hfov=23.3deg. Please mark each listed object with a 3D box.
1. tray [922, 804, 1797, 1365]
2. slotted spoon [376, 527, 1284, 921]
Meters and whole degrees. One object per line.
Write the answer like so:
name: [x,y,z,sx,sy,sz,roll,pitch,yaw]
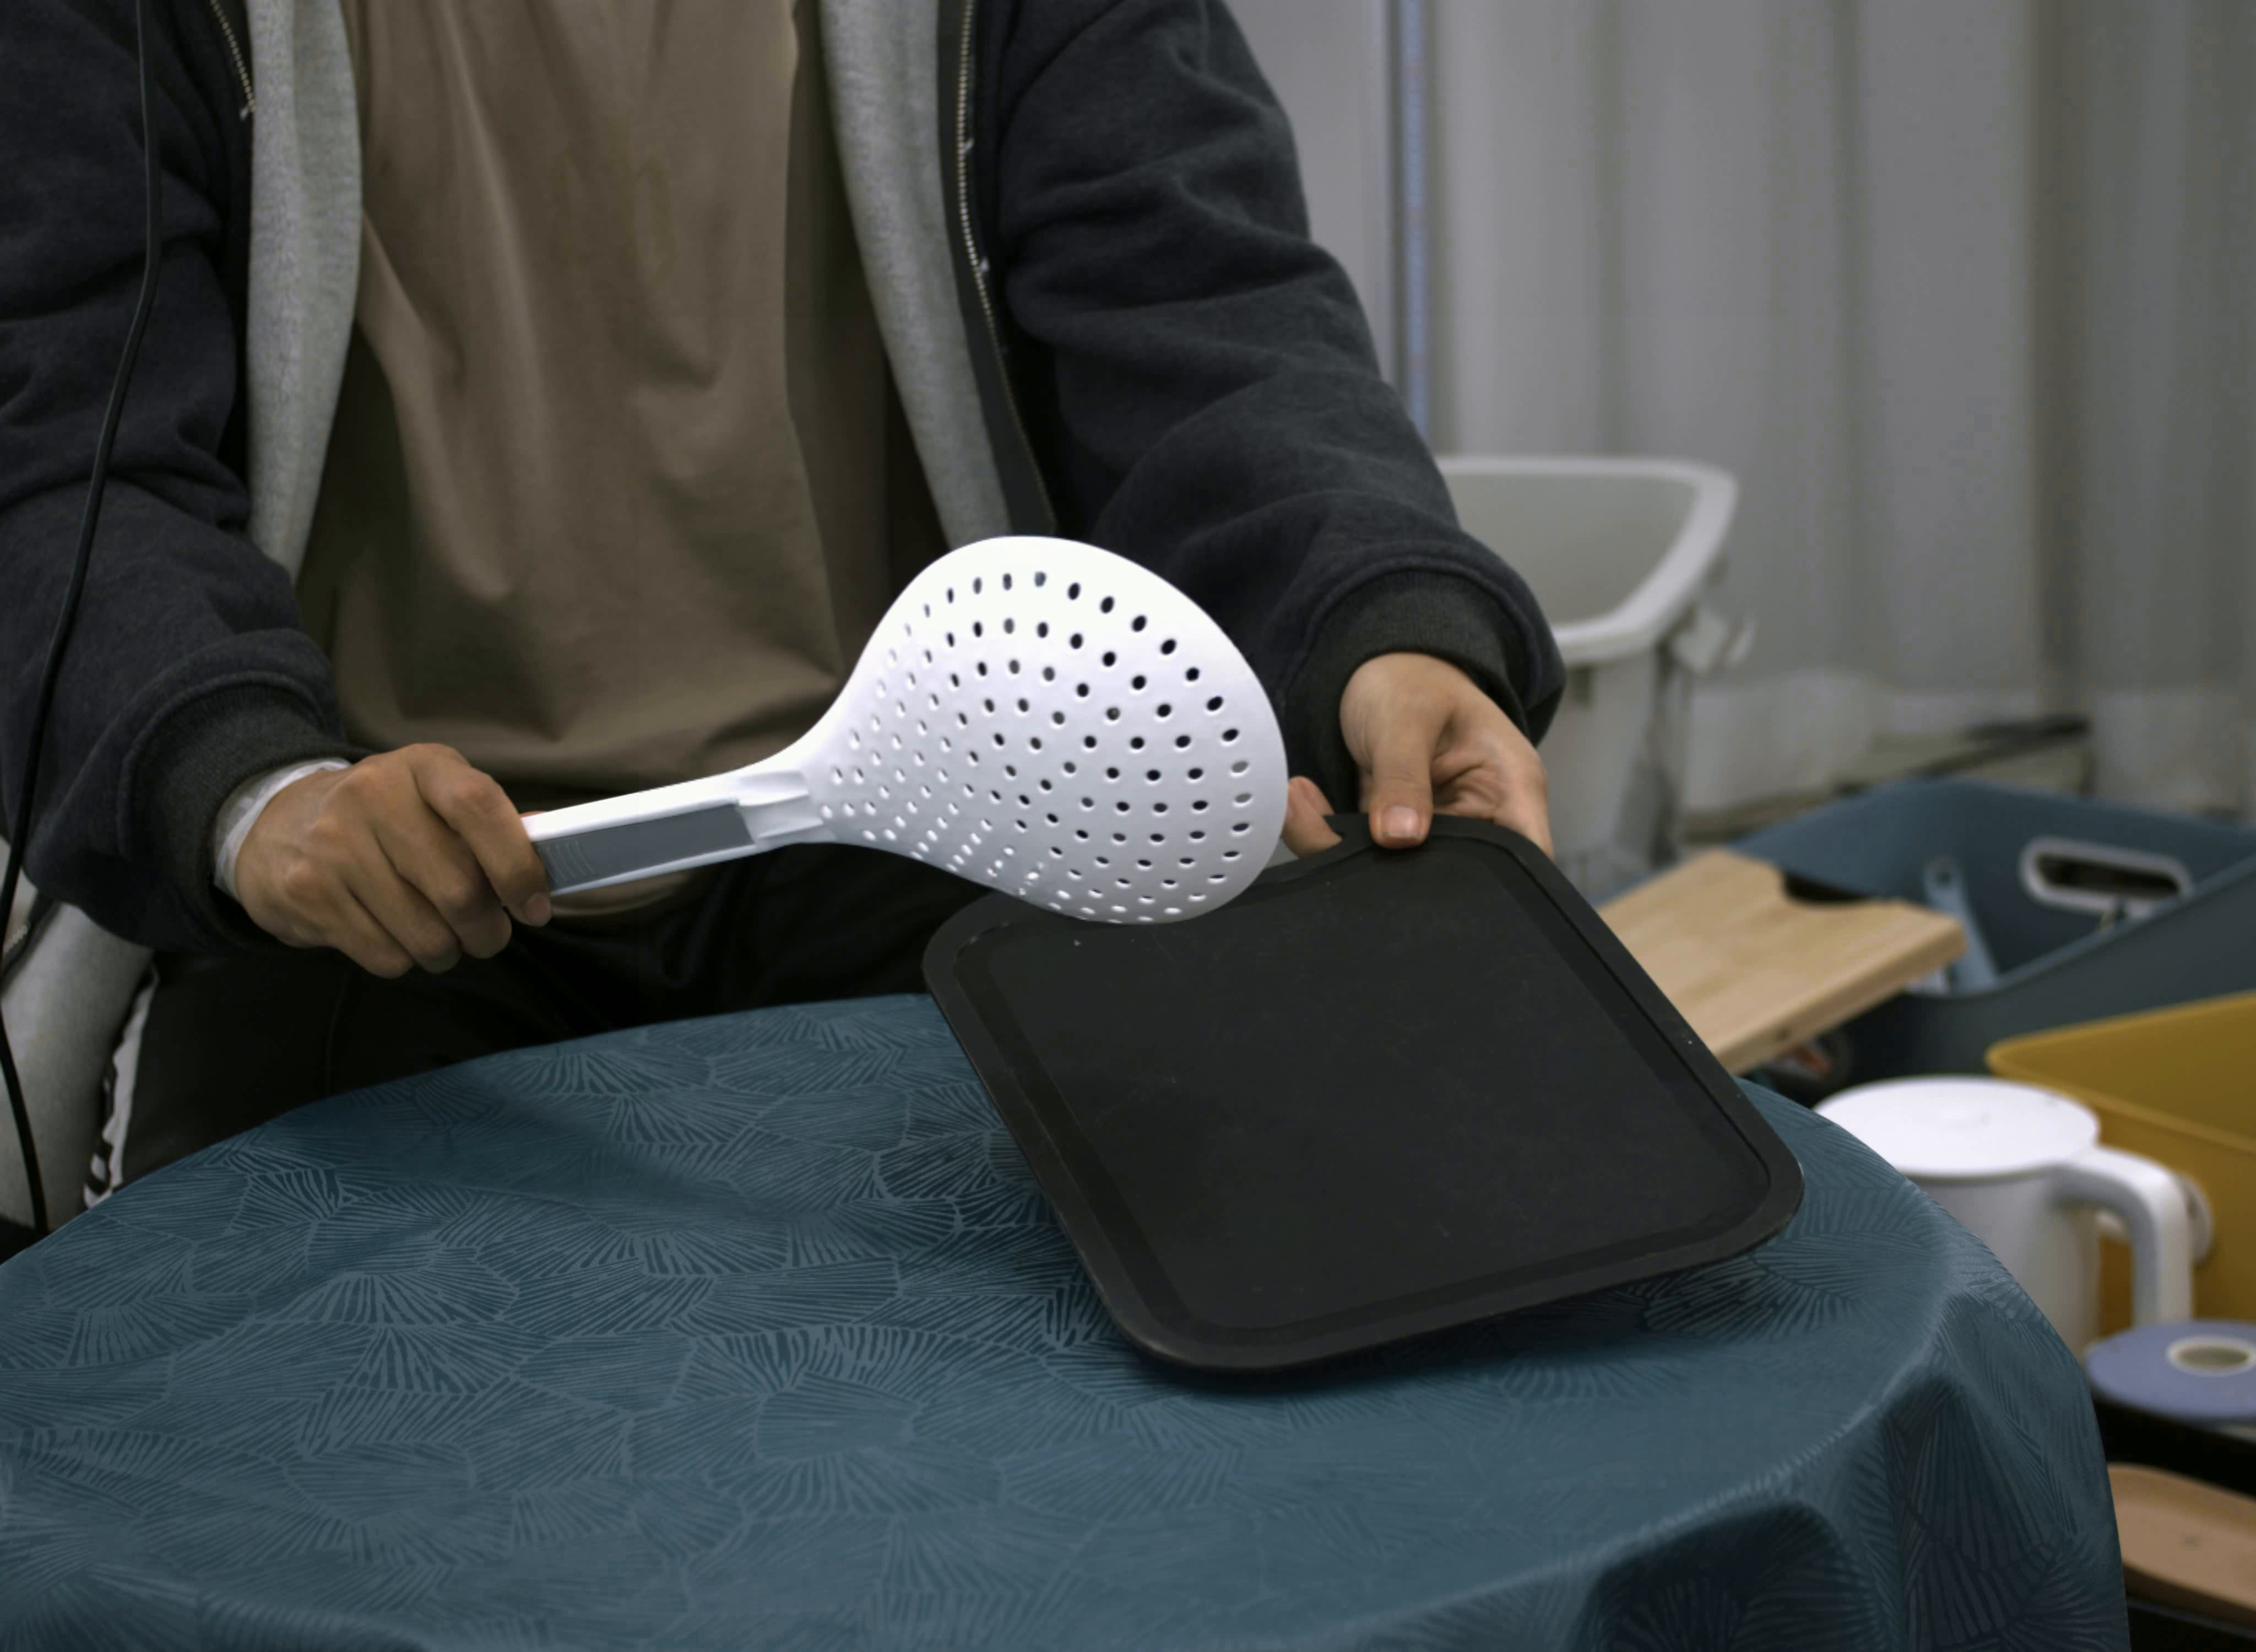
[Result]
tray: [0.060,0.069,1.686,0.210,0.010,0.329,-12,28,-12]
slotted spoon: [-0.104,-0.010,1.706,0.350,0.135,0.046,-9,25,40]
